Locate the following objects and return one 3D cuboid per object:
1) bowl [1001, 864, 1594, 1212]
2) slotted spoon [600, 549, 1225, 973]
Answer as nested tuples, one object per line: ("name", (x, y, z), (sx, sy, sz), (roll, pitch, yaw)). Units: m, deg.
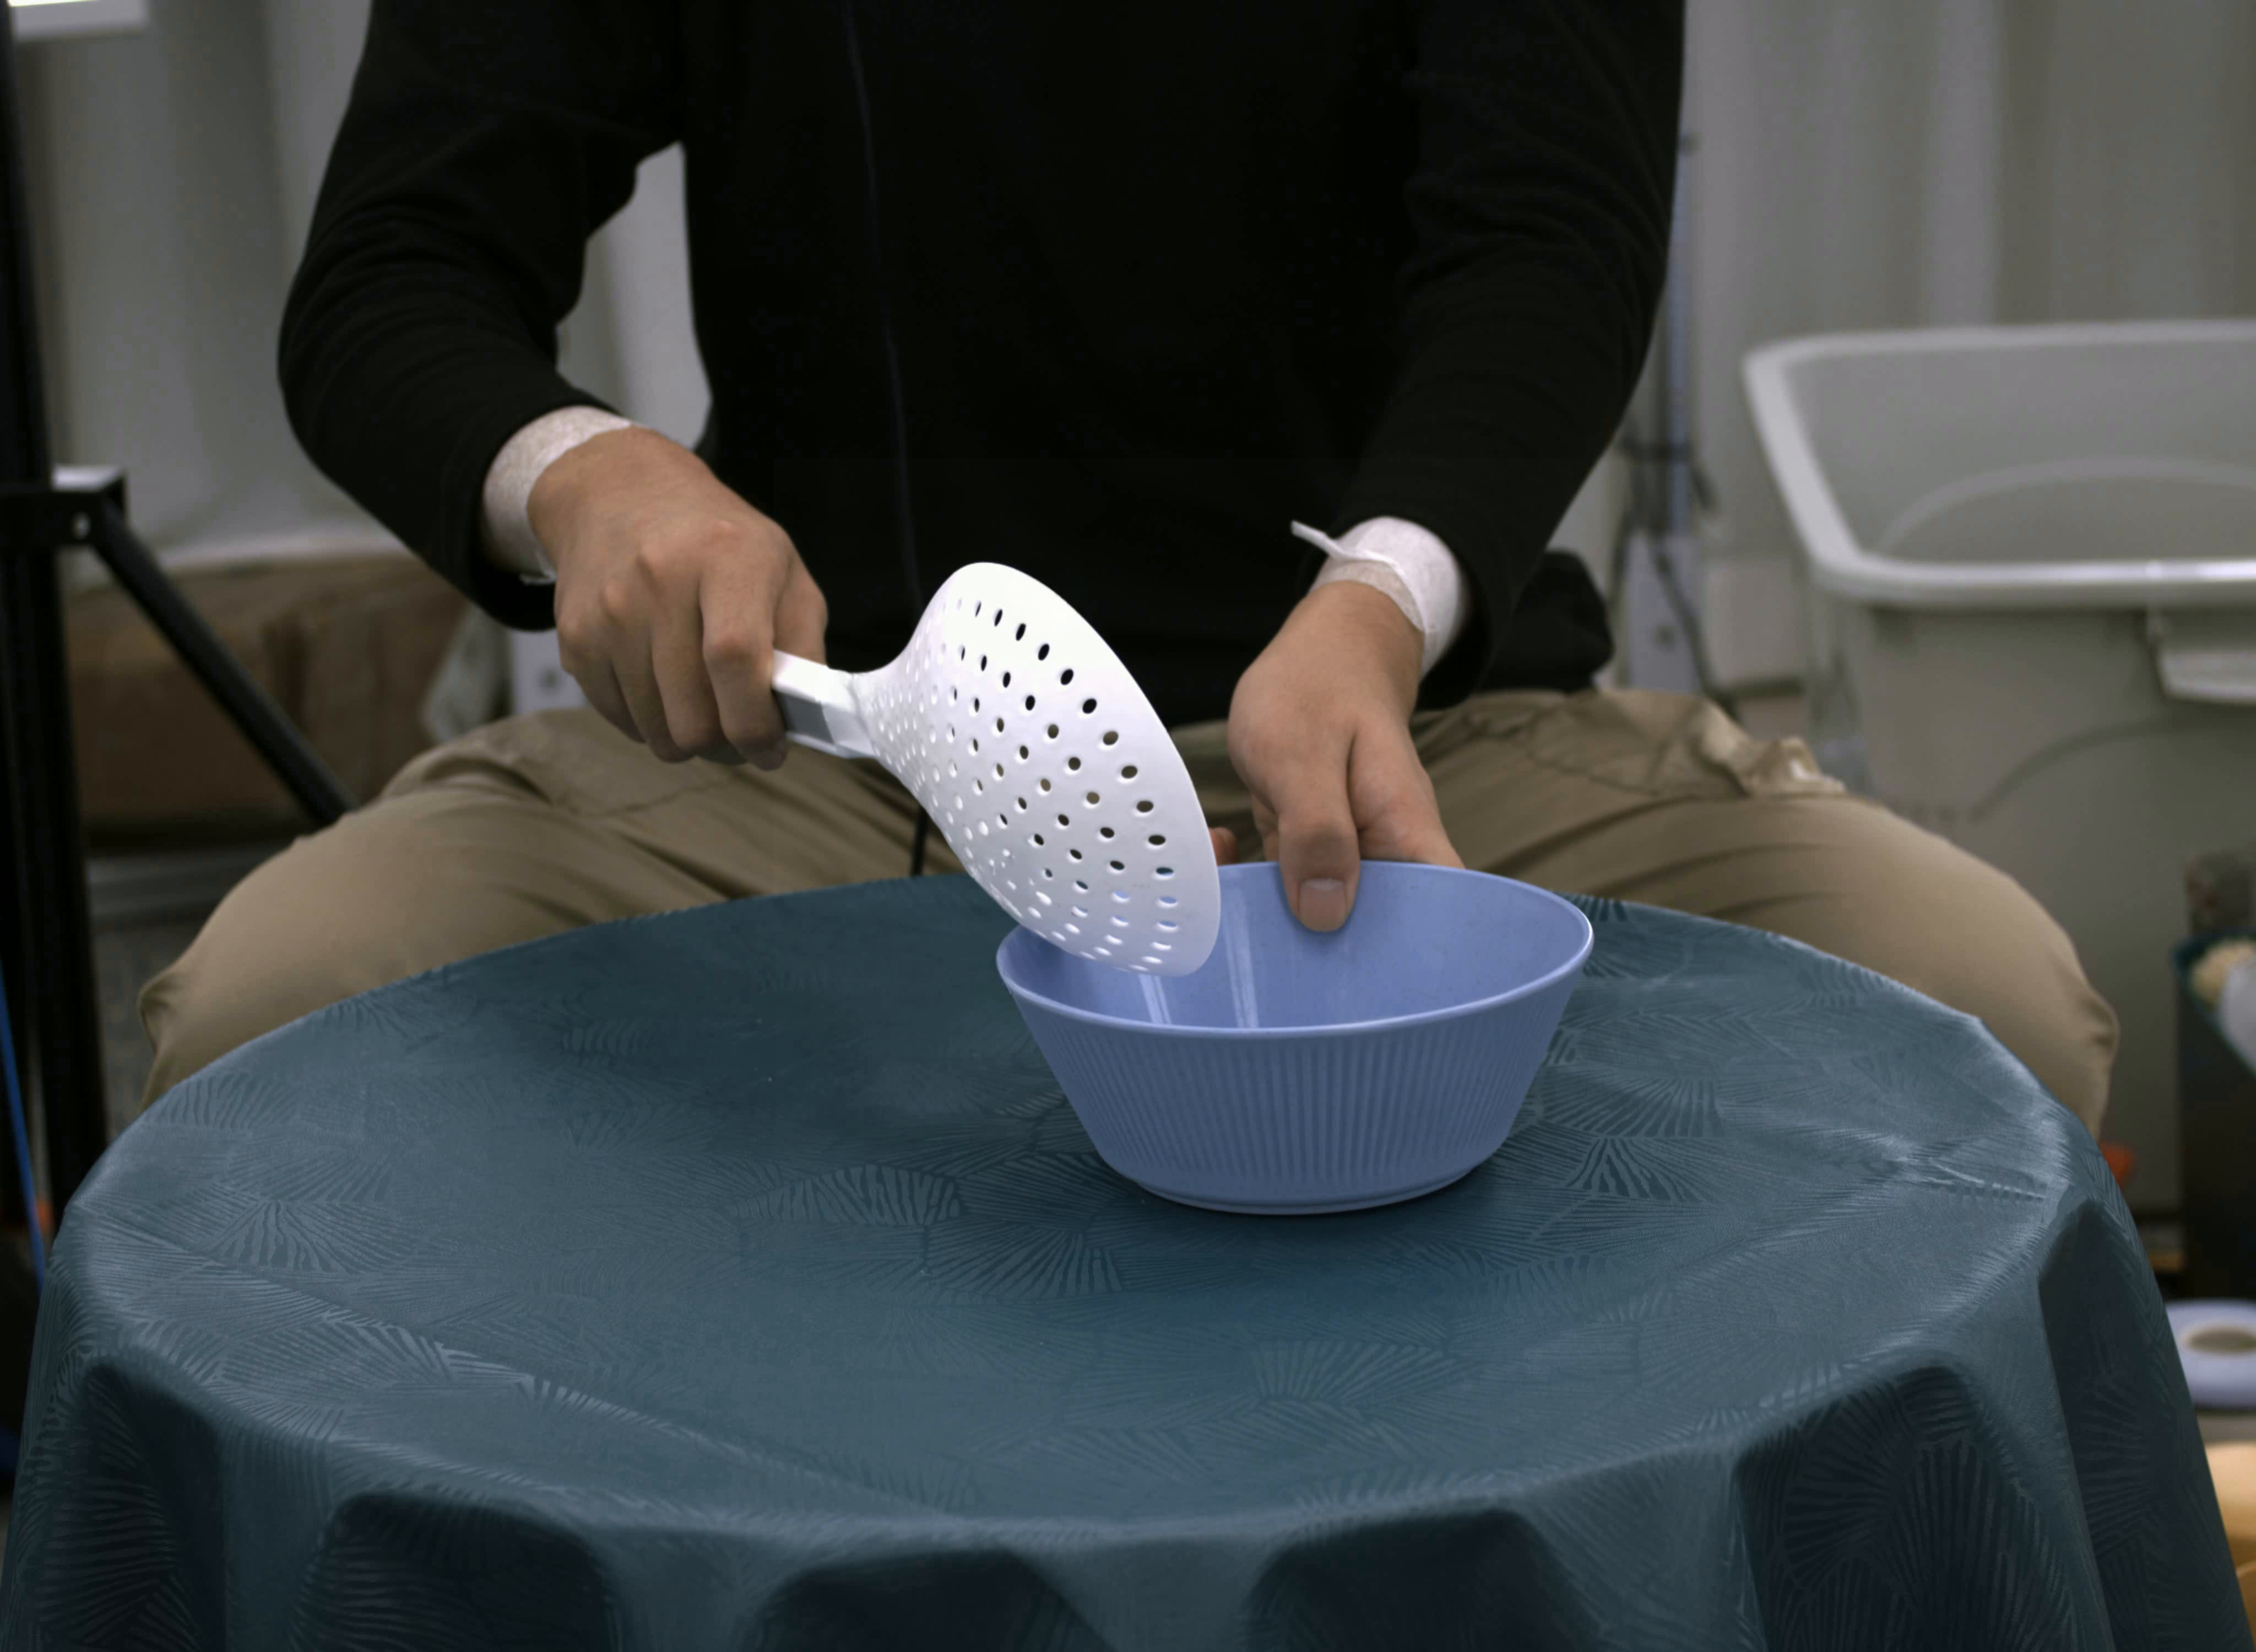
("bowl", (0.051, 0.065, 1.571), (0.175, 0.070, 0.177), (-3, 14, -1))
("slotted spoon", (-0.077, -0.034, 1.646), (0.045, 0.135, 0.357), (-26, 22, -21))
